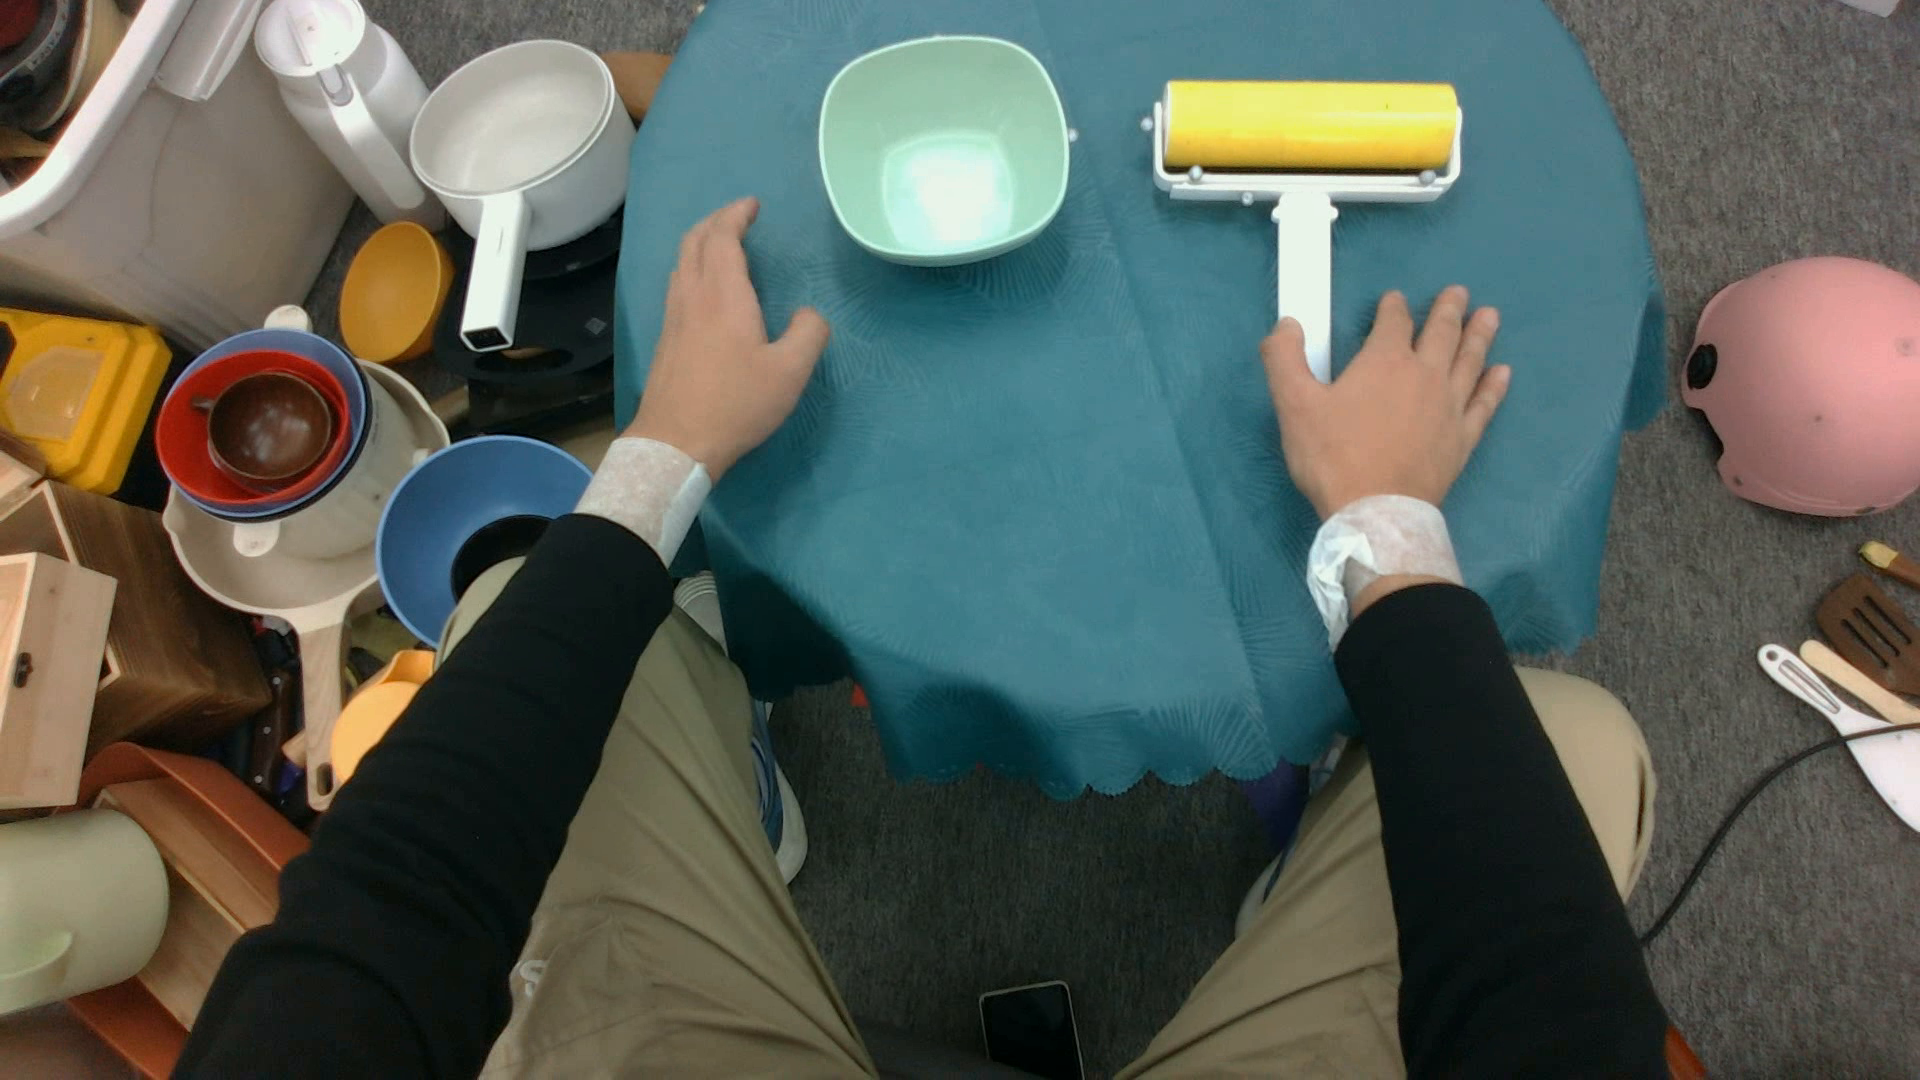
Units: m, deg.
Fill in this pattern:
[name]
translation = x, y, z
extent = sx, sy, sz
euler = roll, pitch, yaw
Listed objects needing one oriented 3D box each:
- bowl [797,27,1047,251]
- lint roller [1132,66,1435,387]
[bowl]
translation = -0.021, -0.219, 0.792
extent = 0.151, 0.058, 0.152
euler = 0, 71, 0
[lint roller]
translation = 0.188, -0.183, 0.780
extent = 0.174, 0.051, 0.192
euler = 0, 68, 1
